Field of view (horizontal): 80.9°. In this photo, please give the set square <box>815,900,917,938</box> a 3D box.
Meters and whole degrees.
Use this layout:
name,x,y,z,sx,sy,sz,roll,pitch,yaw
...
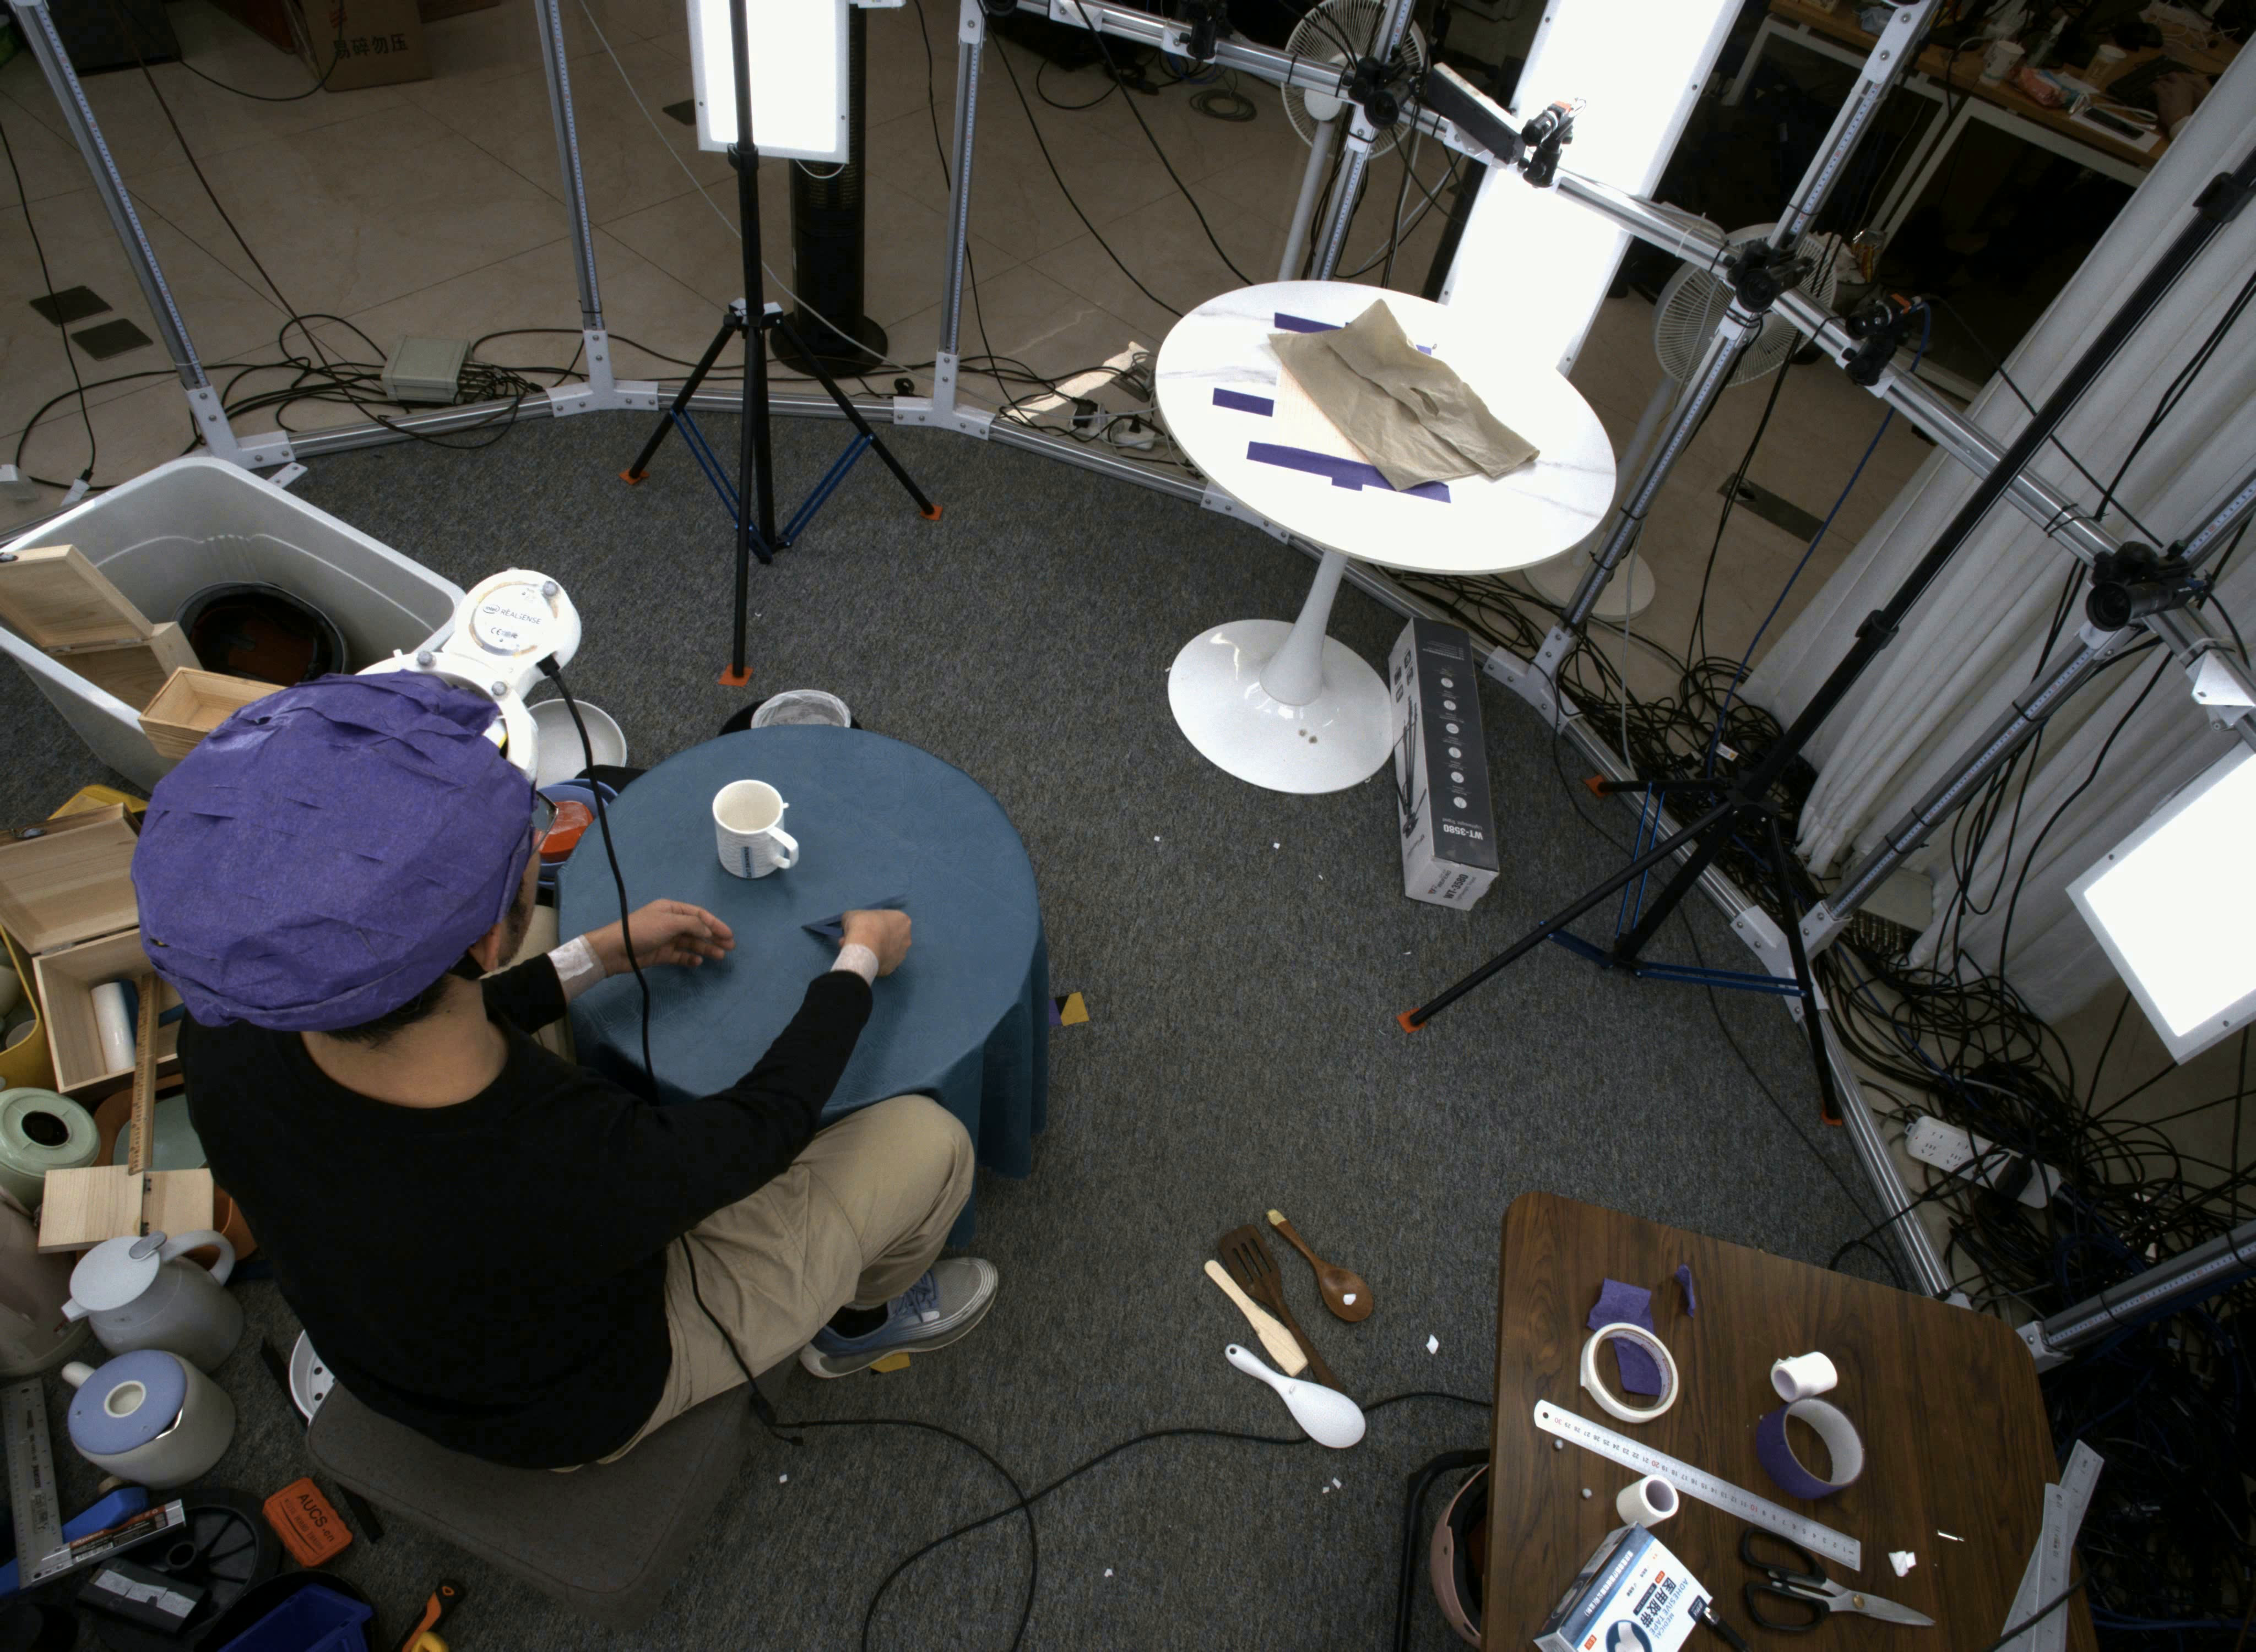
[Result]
name,x,y,z,sx,sy,sz,roll,pitch,yaw
set square,-0.324,0.116,1.628,0.132,0.007,0.059,-14,25,-18

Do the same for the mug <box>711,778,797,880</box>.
name,x,y,z,sx,sy,sz,roll,pitch,yaw
mug,-0.466,0.012,1.632,0.116,0.104,0.084,30,52,11
